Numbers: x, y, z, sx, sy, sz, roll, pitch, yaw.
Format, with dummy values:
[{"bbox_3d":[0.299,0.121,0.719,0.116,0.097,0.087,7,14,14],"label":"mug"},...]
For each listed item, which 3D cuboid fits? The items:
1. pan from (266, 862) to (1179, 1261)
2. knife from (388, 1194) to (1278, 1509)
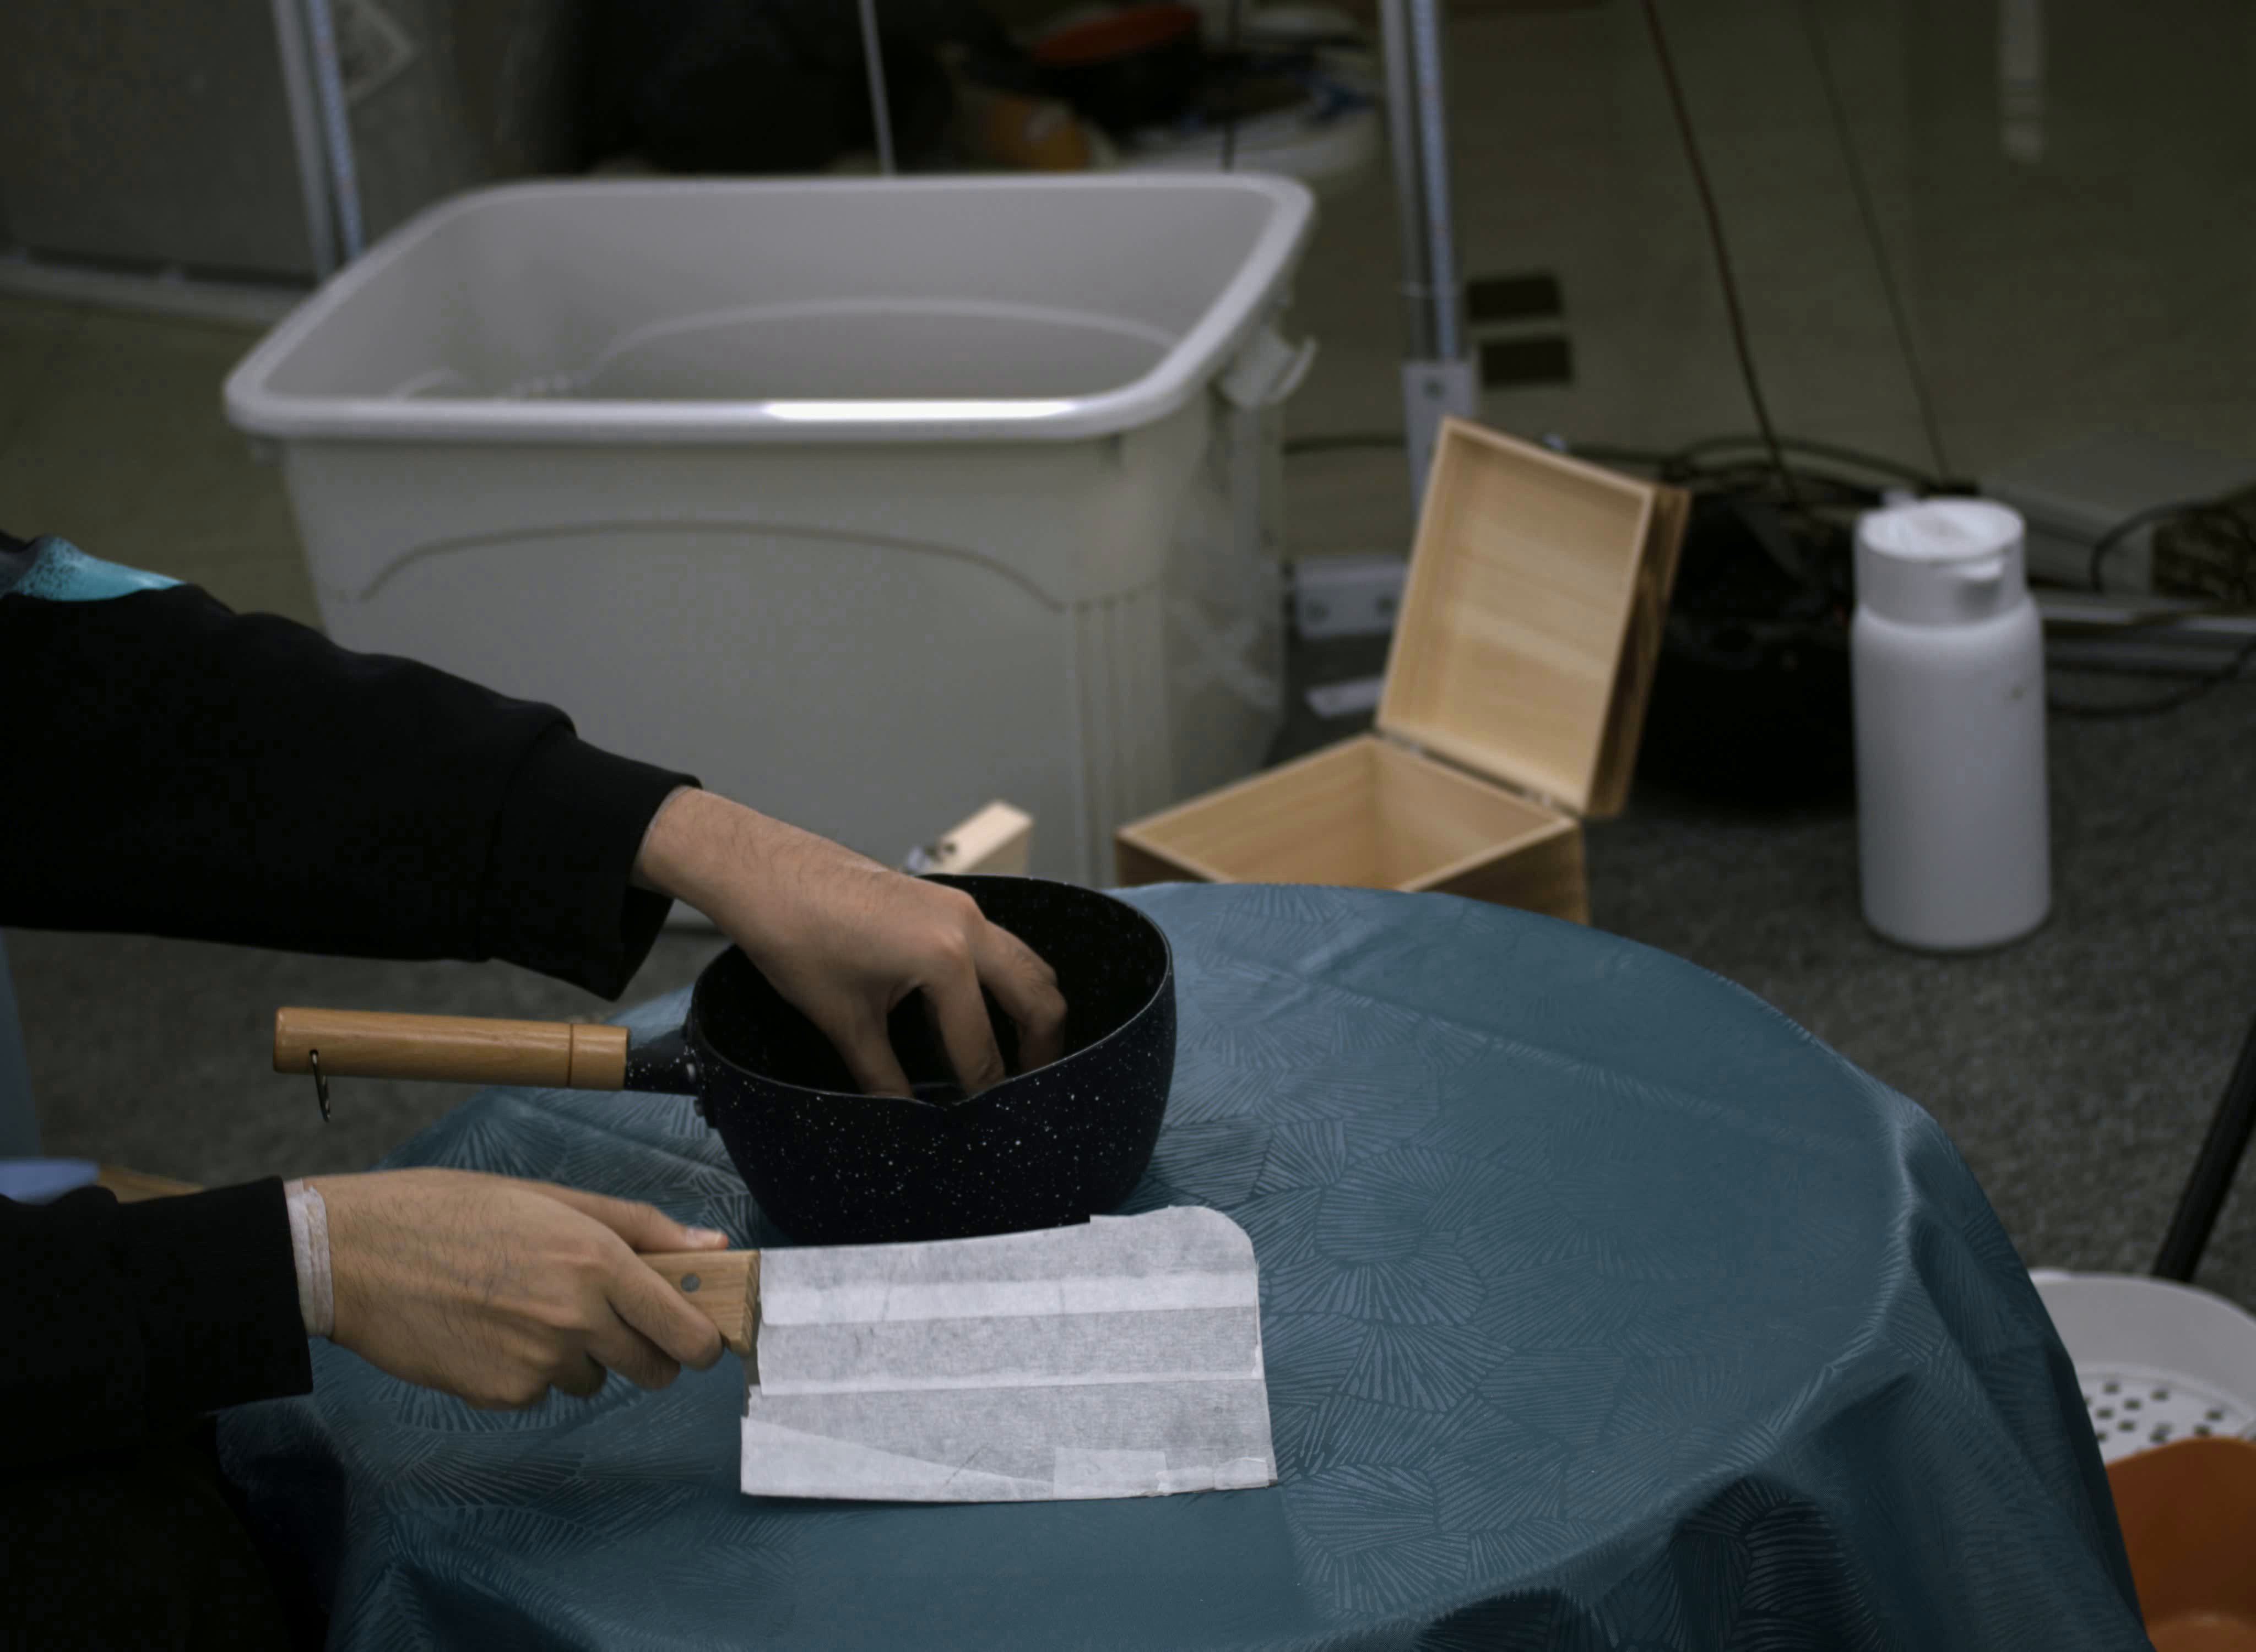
[{"bbox_3d":[-0.149,0.096,2.143,0.342,0.110,0.204,-8,26,-5],"label":"pan"},{"bbox_3d":[-0.103,0.182,1.976,0.315,0.113,0.022,1,-15,7],"label":"knife"}]
